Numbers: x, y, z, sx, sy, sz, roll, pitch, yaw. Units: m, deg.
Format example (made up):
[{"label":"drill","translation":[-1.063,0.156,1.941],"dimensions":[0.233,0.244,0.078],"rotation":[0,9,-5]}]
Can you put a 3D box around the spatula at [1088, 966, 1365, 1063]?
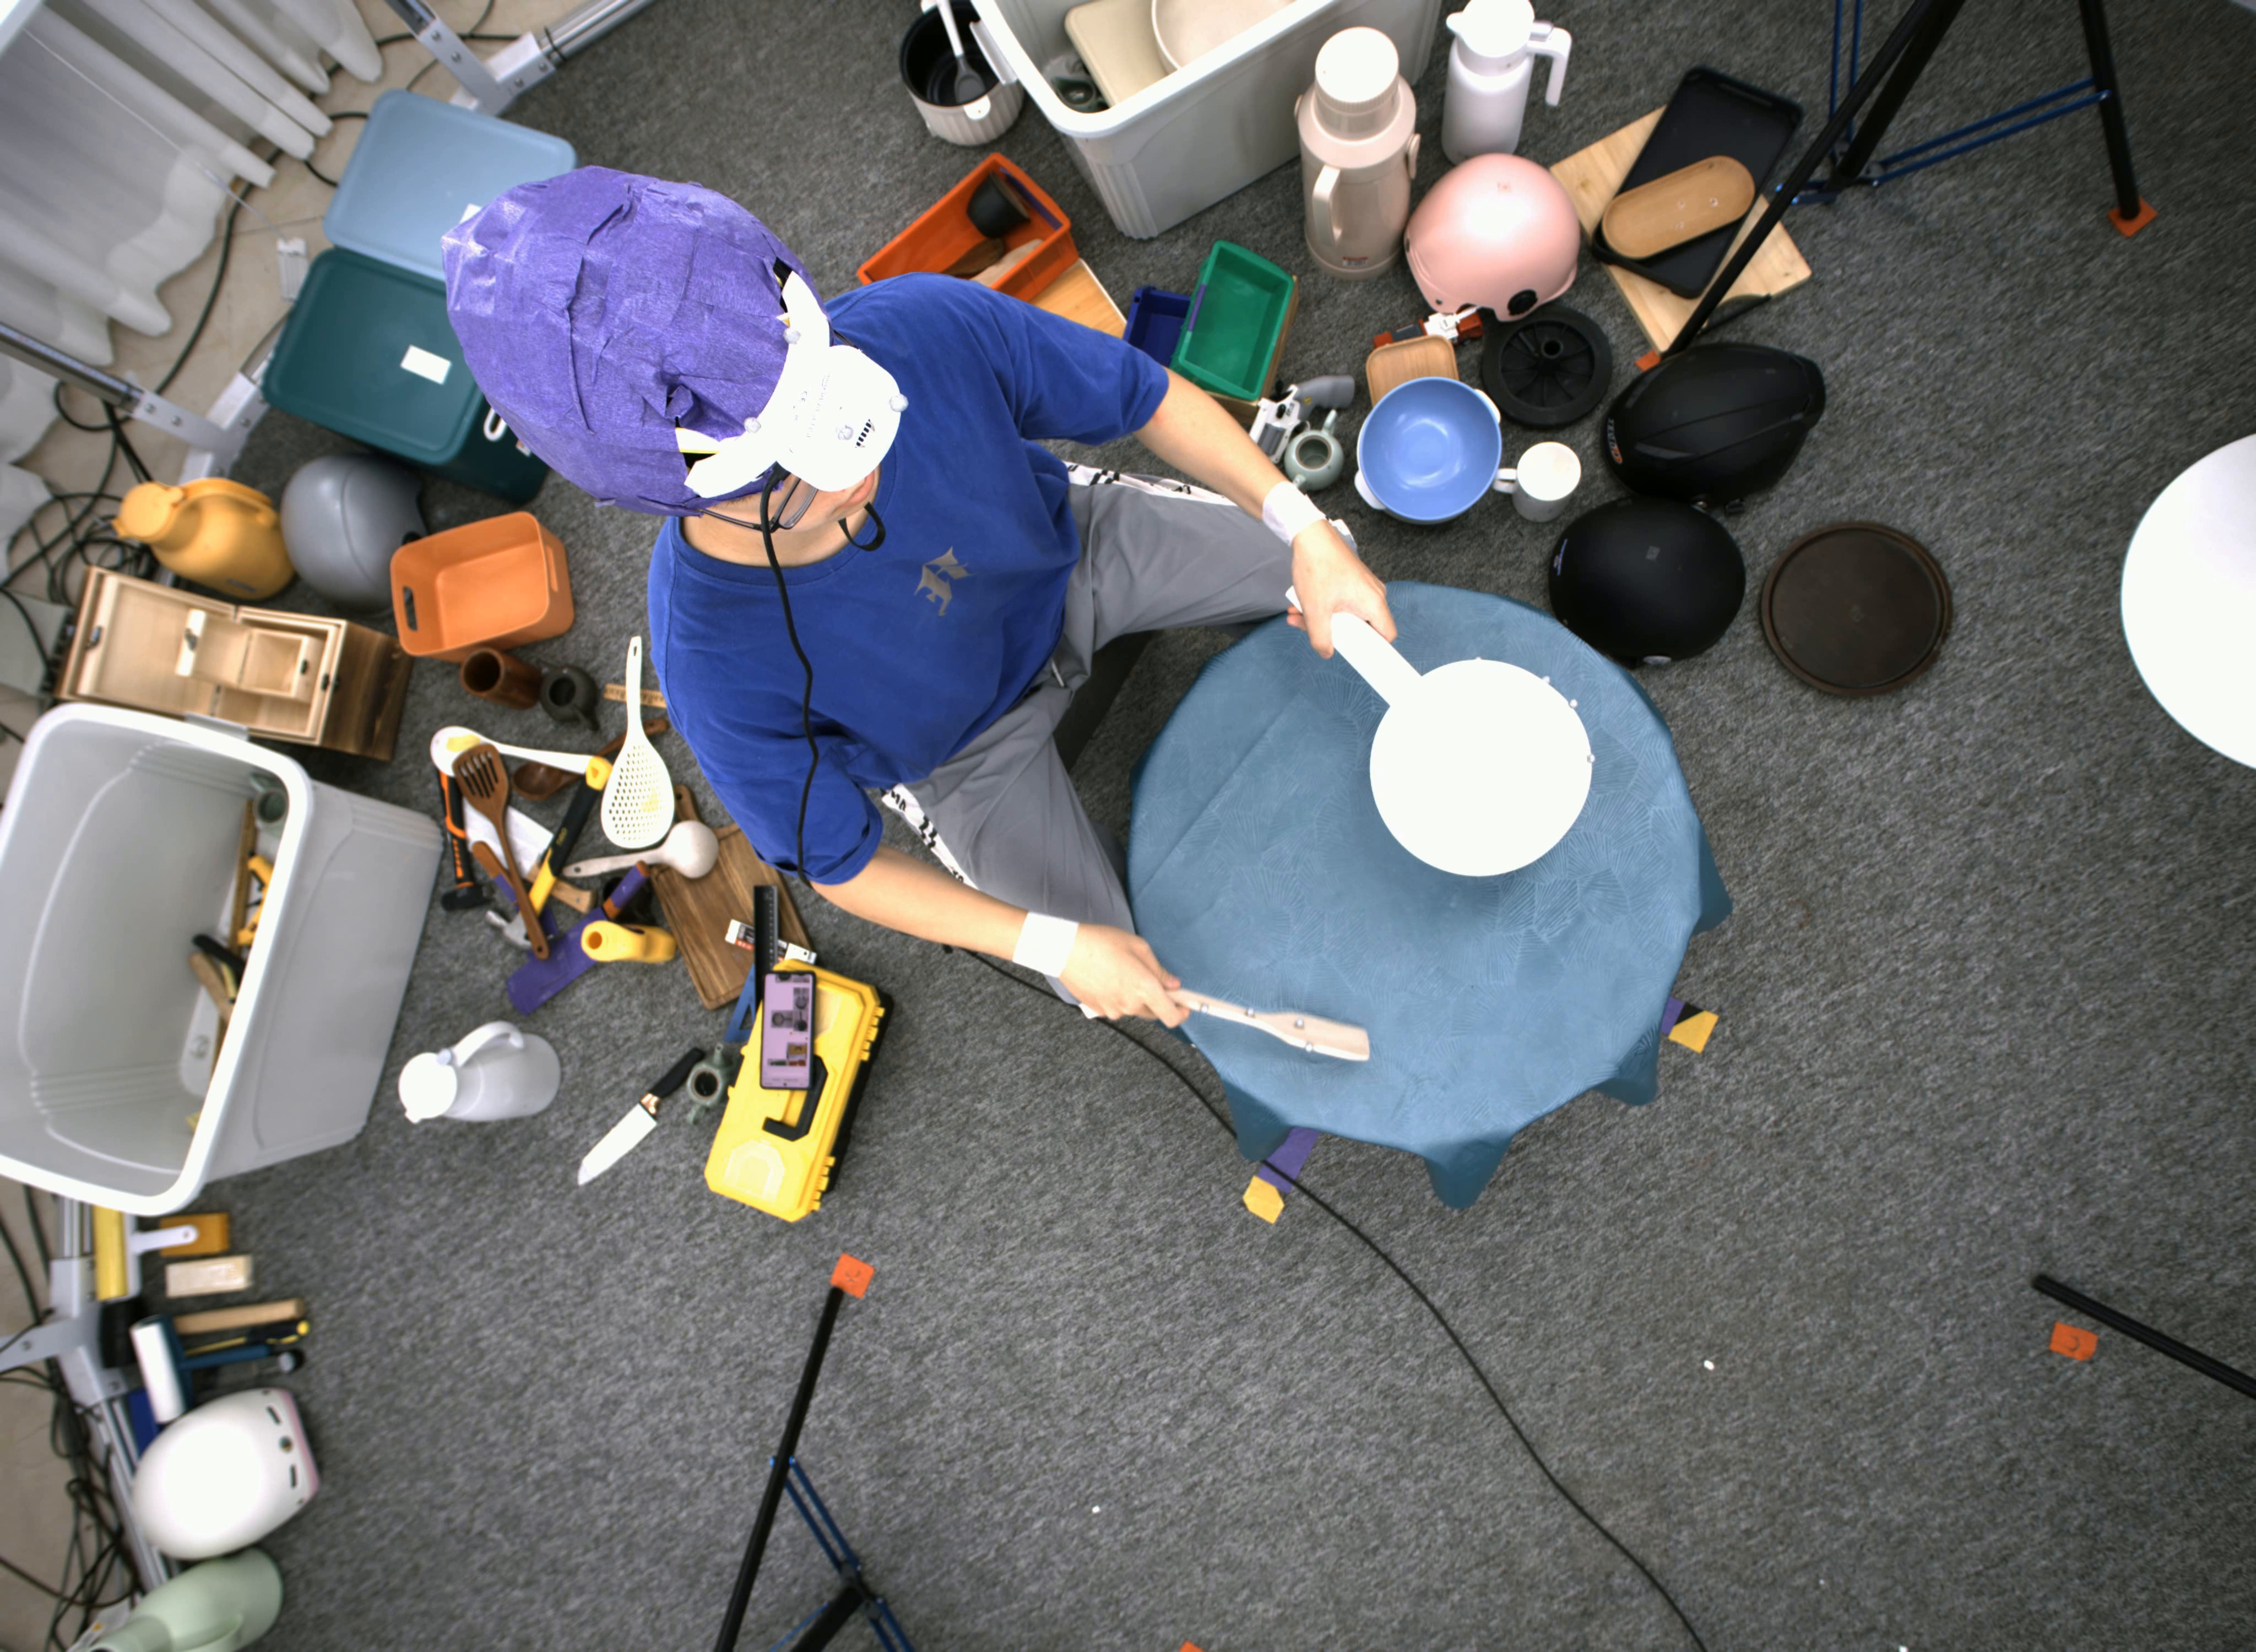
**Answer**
[{"label":"spatula","translation":[0.100,0.189,1.419],"dimensions":[0.293,0.071,0.011],"rotation":[16,107,2]}]

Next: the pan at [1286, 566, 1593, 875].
[{"label":"pan","translation":[0.295,-0.115,1.338],"dimensions":[0.352,0.101,0.205],"rotation":[49,115,12]}]
